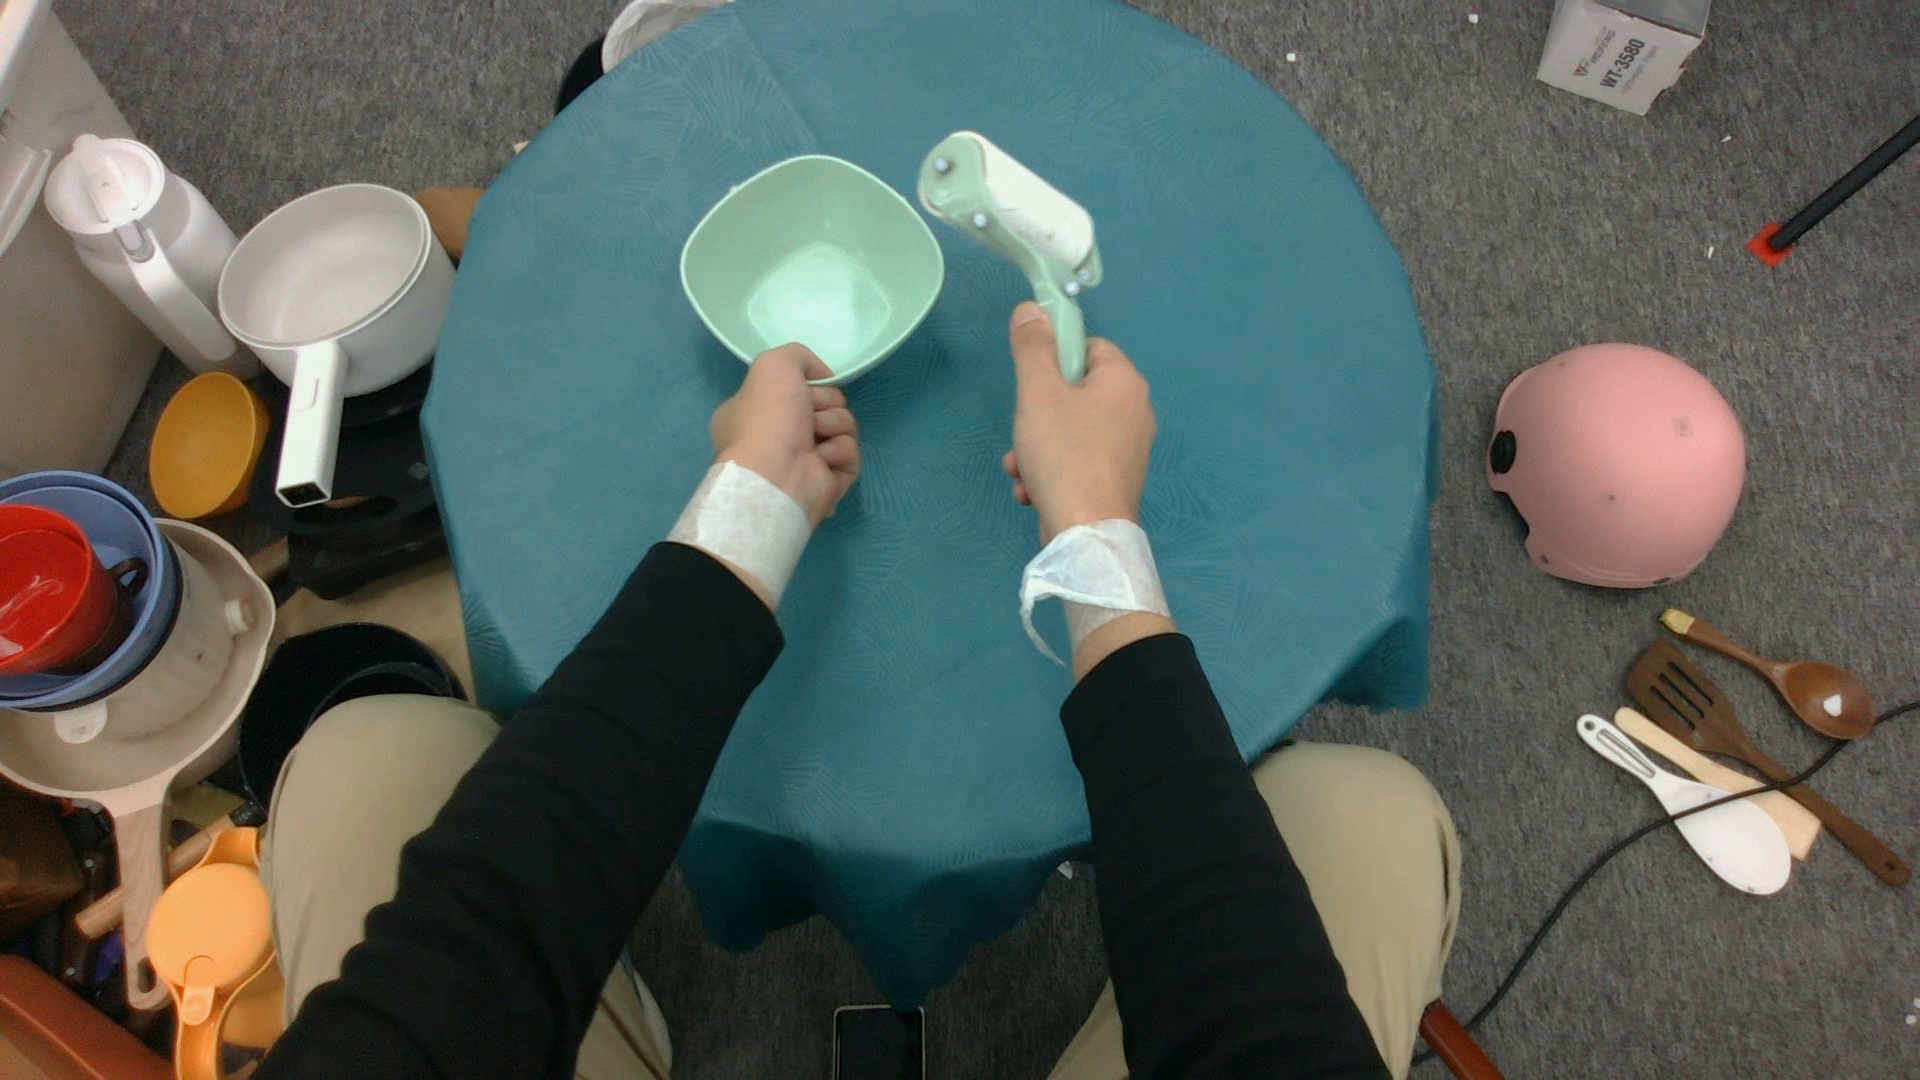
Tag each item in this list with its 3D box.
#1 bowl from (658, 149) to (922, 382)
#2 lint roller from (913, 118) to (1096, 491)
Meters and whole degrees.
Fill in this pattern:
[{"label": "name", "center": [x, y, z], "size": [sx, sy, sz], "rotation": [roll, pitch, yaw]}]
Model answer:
[{"label": "bowl", "center": [-0.098, -0.152, 0.814], "size": [0.151, 0.058, 0.152], "rotation": [1, 68, -3]}, {"label": "lint roller", "center": [0.035, -0.123, 0.731], "size": [0.048, 0.117, 0.198], "rotation": [-24, 65, 33]}]
